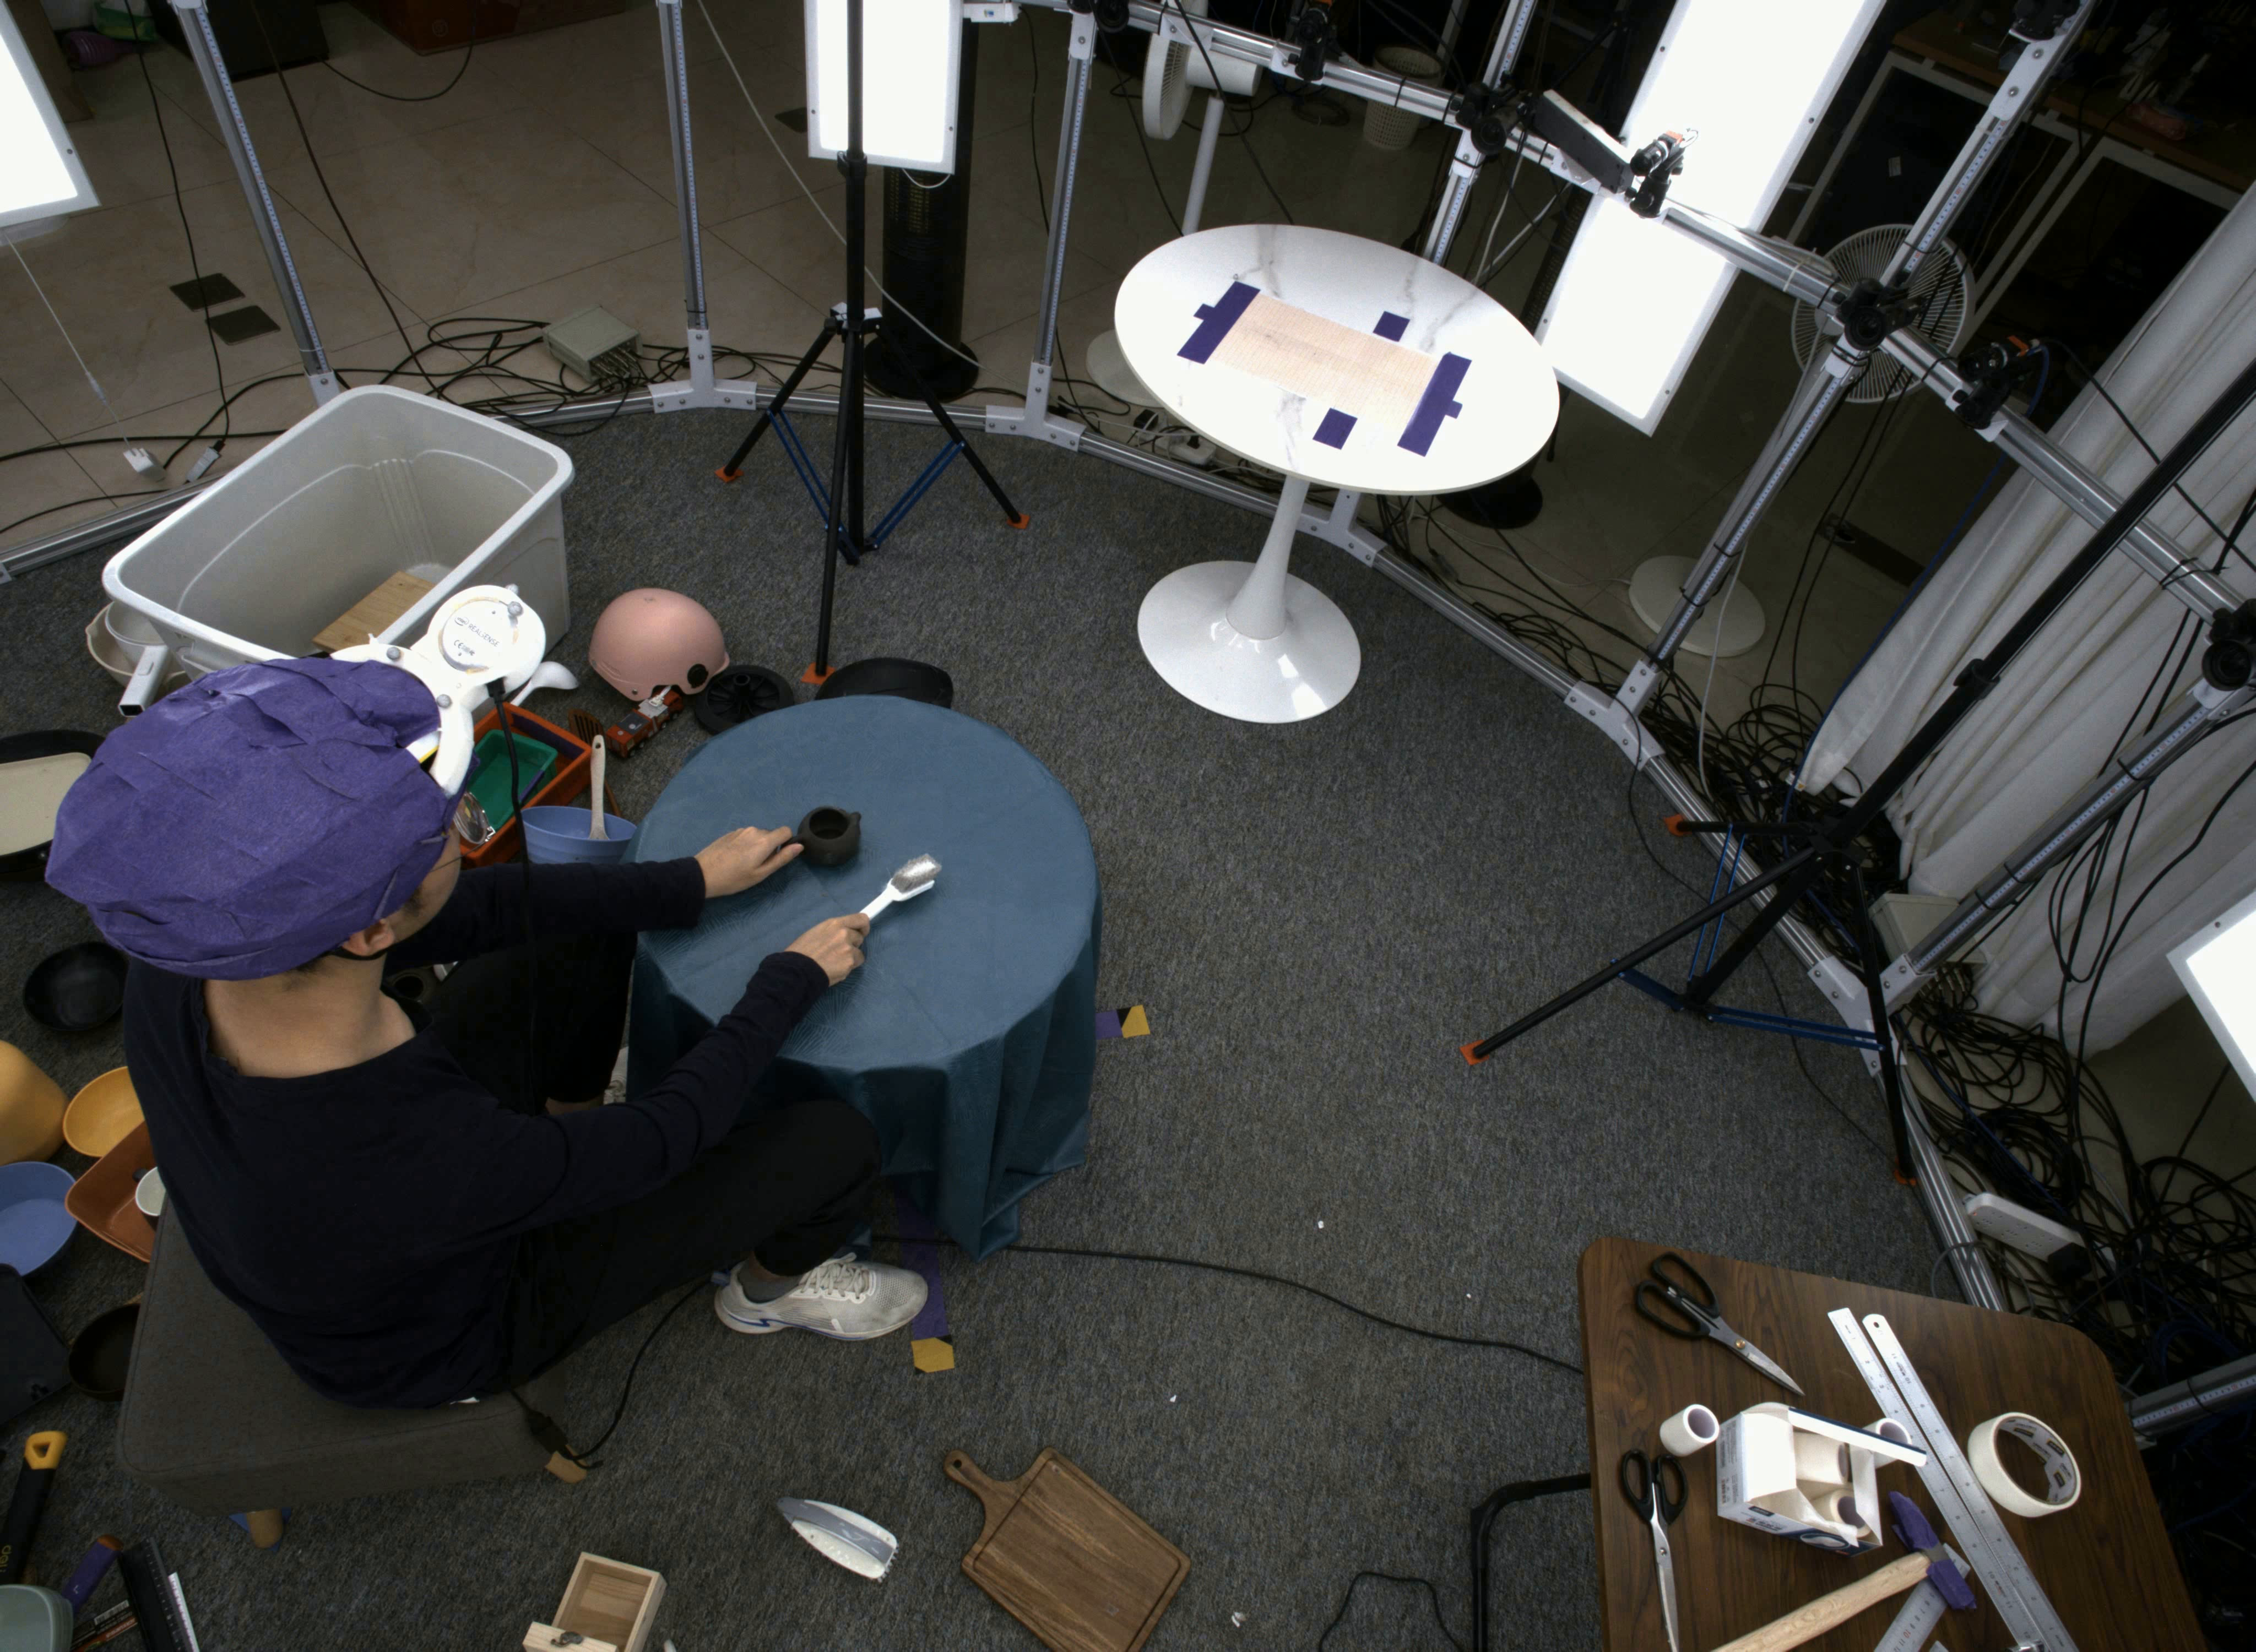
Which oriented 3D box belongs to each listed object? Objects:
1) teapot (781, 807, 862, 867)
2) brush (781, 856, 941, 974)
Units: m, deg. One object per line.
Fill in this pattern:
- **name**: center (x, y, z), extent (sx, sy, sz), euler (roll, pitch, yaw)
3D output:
- **teapot**: center (-0.399, 0.016, 1.687), extent (0.114, 0.054, 0.081), euler (-23, 62, -27)
- **brush**: center (-0.333, 0.106, 1.627), extent (0.034, 0.051, 0.244), euler (43, 51, 16)
